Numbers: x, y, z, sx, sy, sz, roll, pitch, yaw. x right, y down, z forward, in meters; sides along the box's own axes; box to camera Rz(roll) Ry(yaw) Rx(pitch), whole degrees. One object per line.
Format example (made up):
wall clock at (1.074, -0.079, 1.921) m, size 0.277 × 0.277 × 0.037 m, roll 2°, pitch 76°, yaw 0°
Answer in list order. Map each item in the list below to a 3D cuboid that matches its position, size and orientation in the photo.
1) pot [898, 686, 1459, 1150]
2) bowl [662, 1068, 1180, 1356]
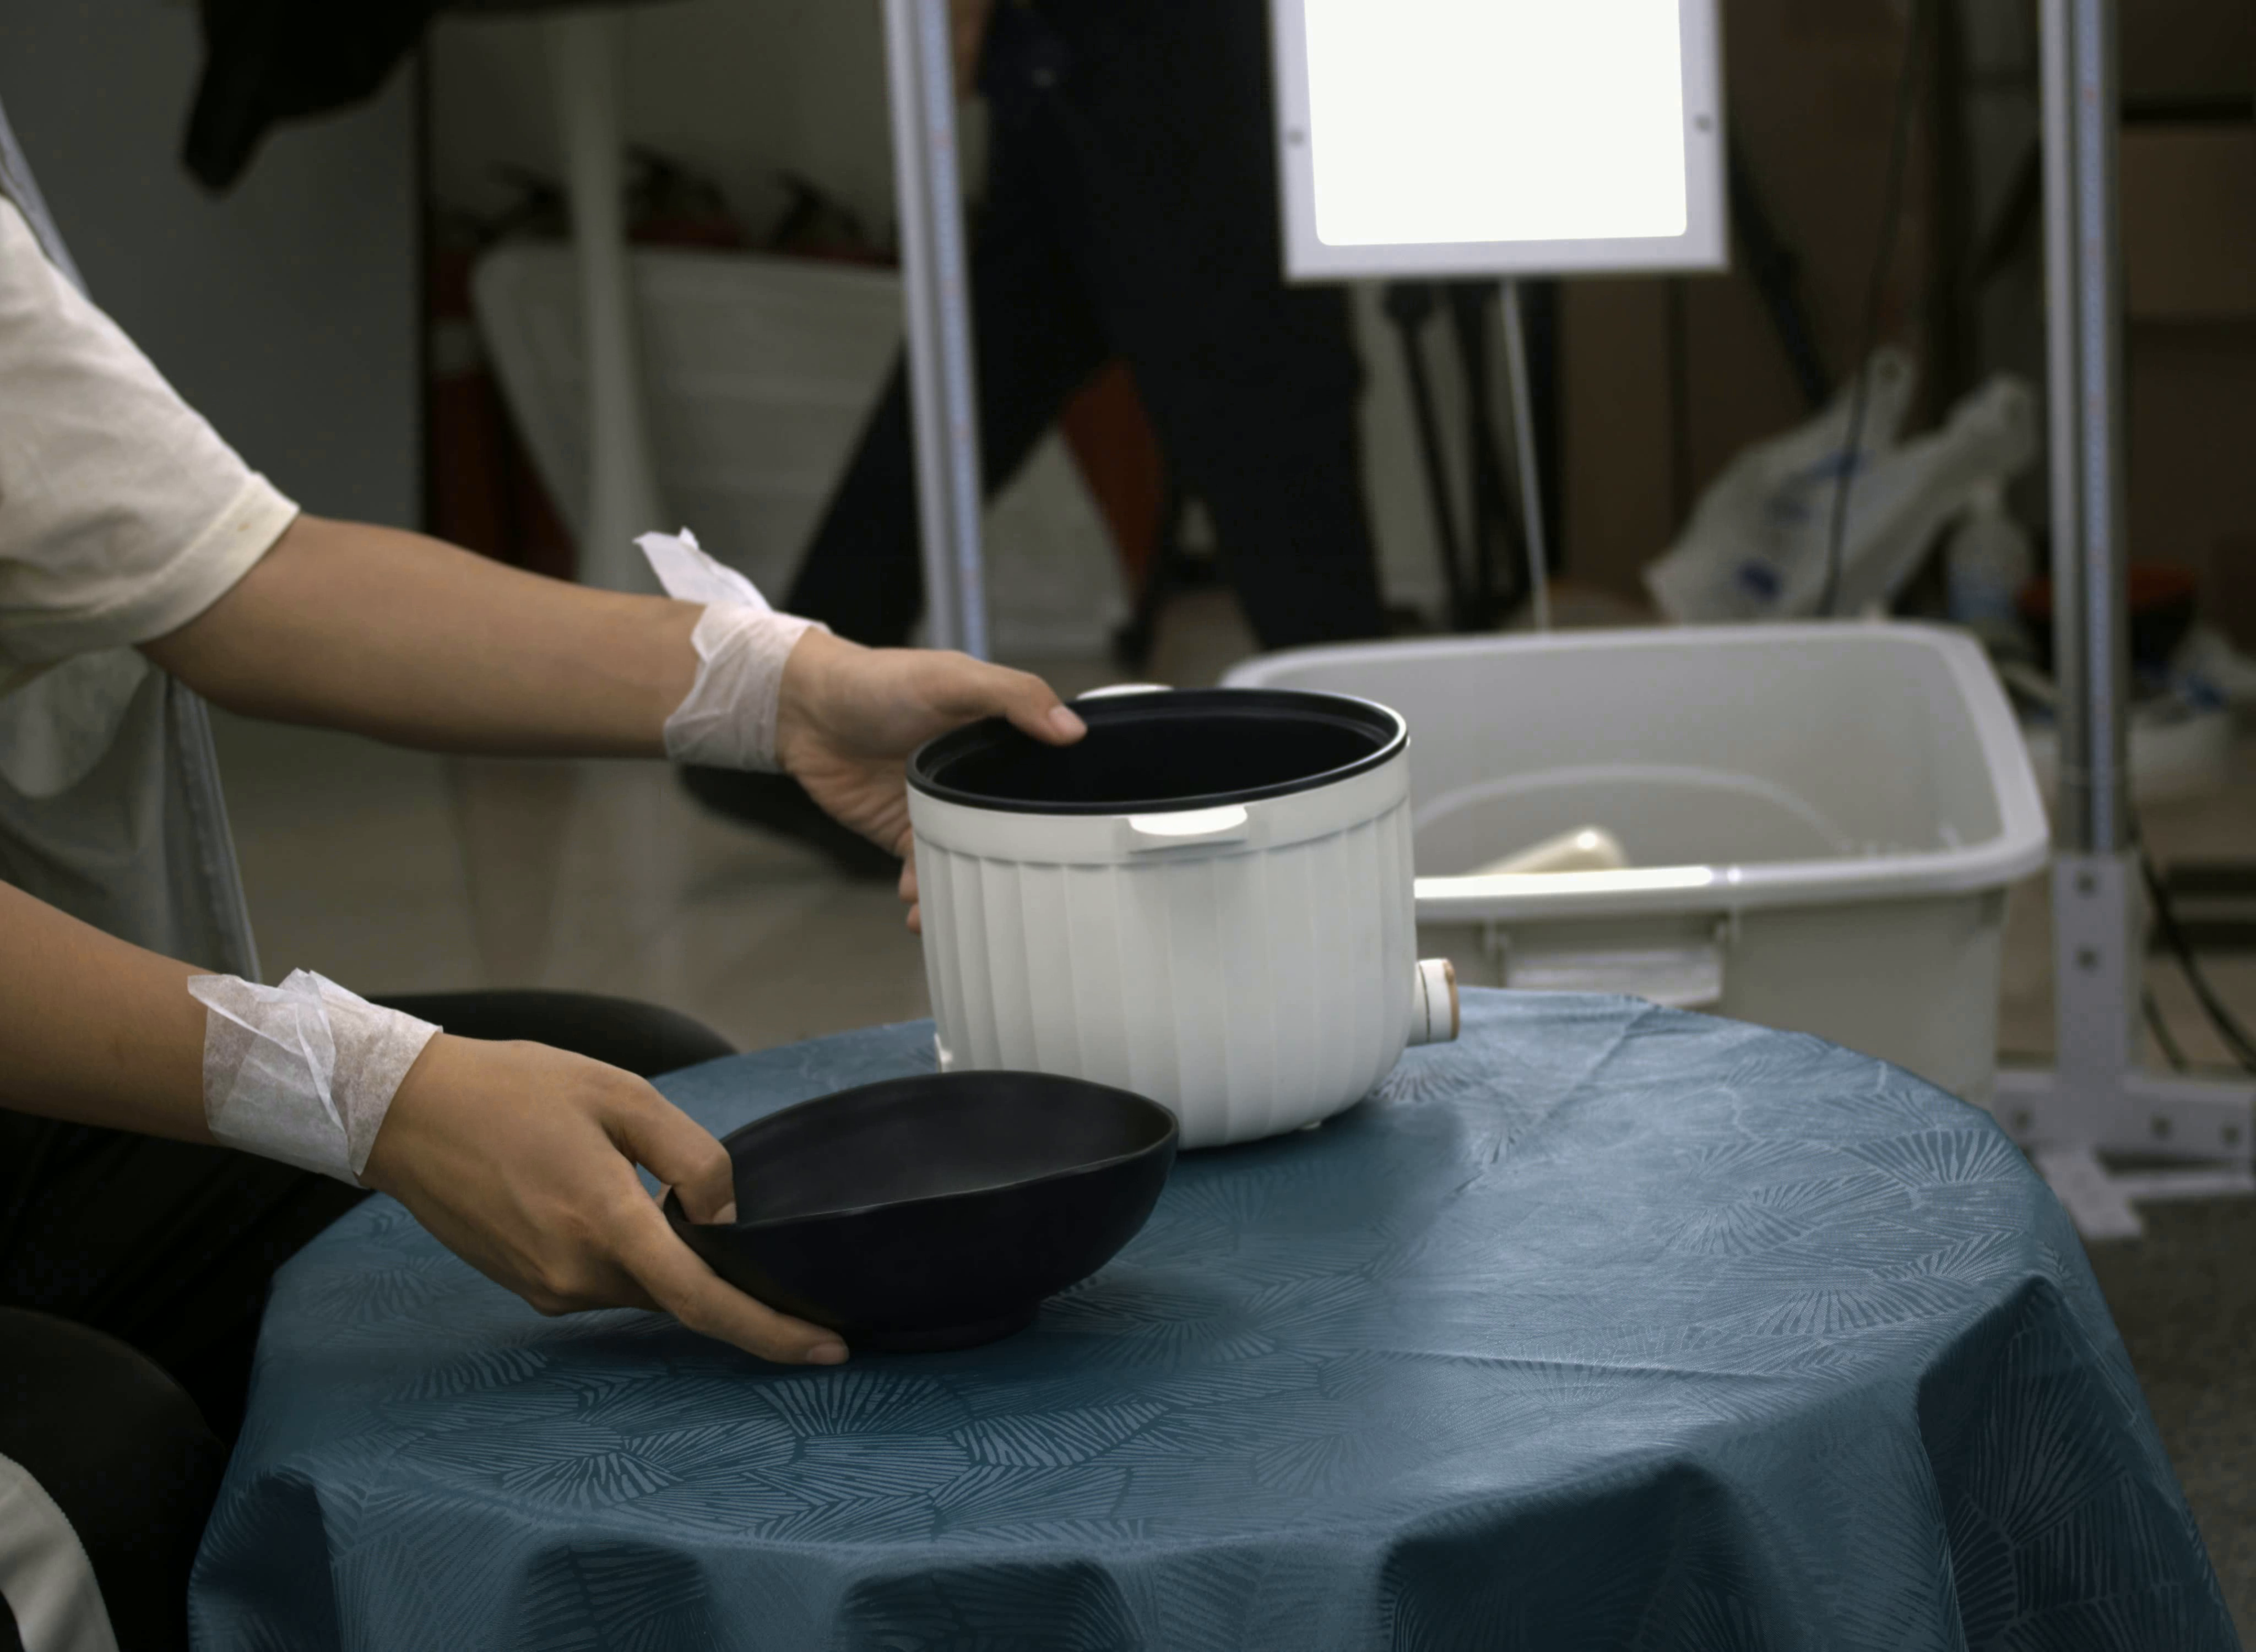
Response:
pot at (0.019, 0.034, 1.978) m, size 0.189 × 0.143 × 0.241 m, roll -9°, pitch 15°, yaw -4°
bowl at (-0.063, 0.129, 1.773) m, size 0.168 × 0.067 × 0.138 m, roll -9°, pitch 13°, yaw -13°
